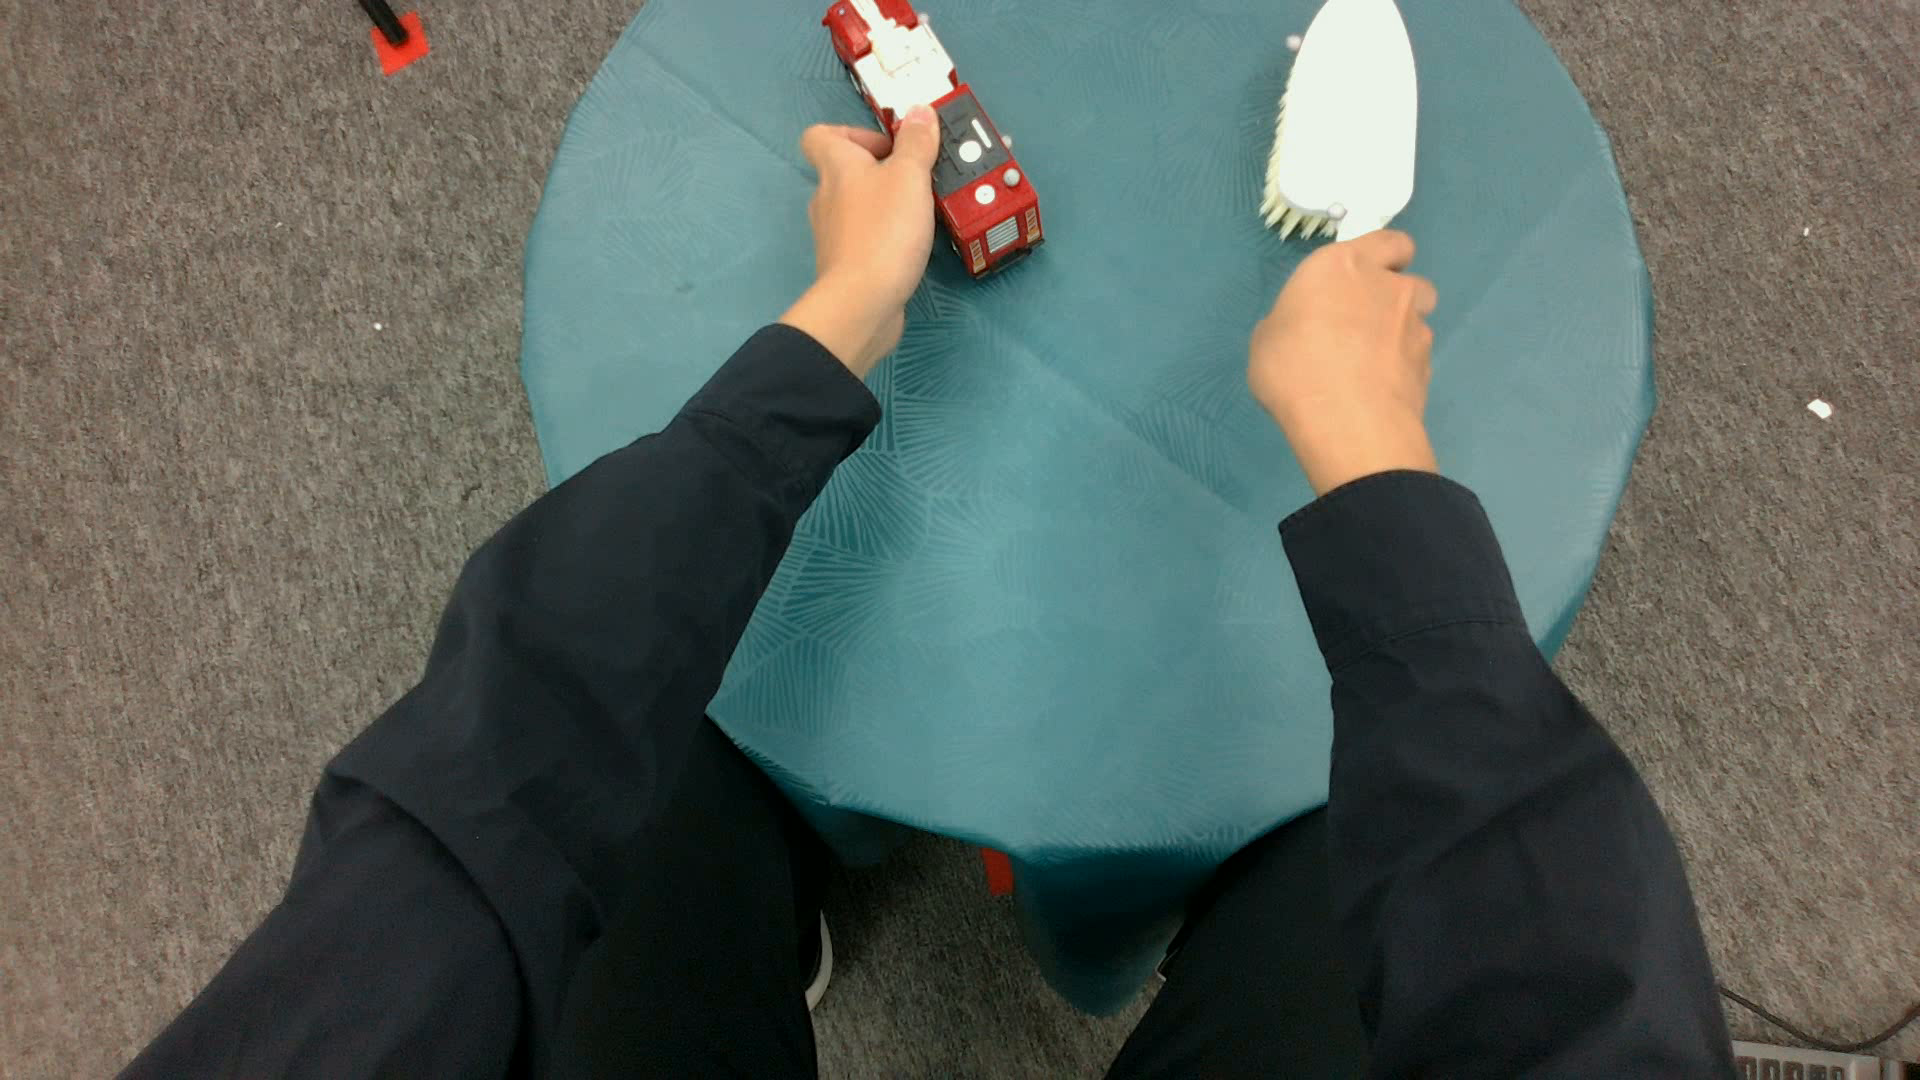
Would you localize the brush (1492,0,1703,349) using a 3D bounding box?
[{"bbox_3d":[0.288,-0.222,0.630,0.083,0.084,0.326,14,75,39],"label":"brush"}]
